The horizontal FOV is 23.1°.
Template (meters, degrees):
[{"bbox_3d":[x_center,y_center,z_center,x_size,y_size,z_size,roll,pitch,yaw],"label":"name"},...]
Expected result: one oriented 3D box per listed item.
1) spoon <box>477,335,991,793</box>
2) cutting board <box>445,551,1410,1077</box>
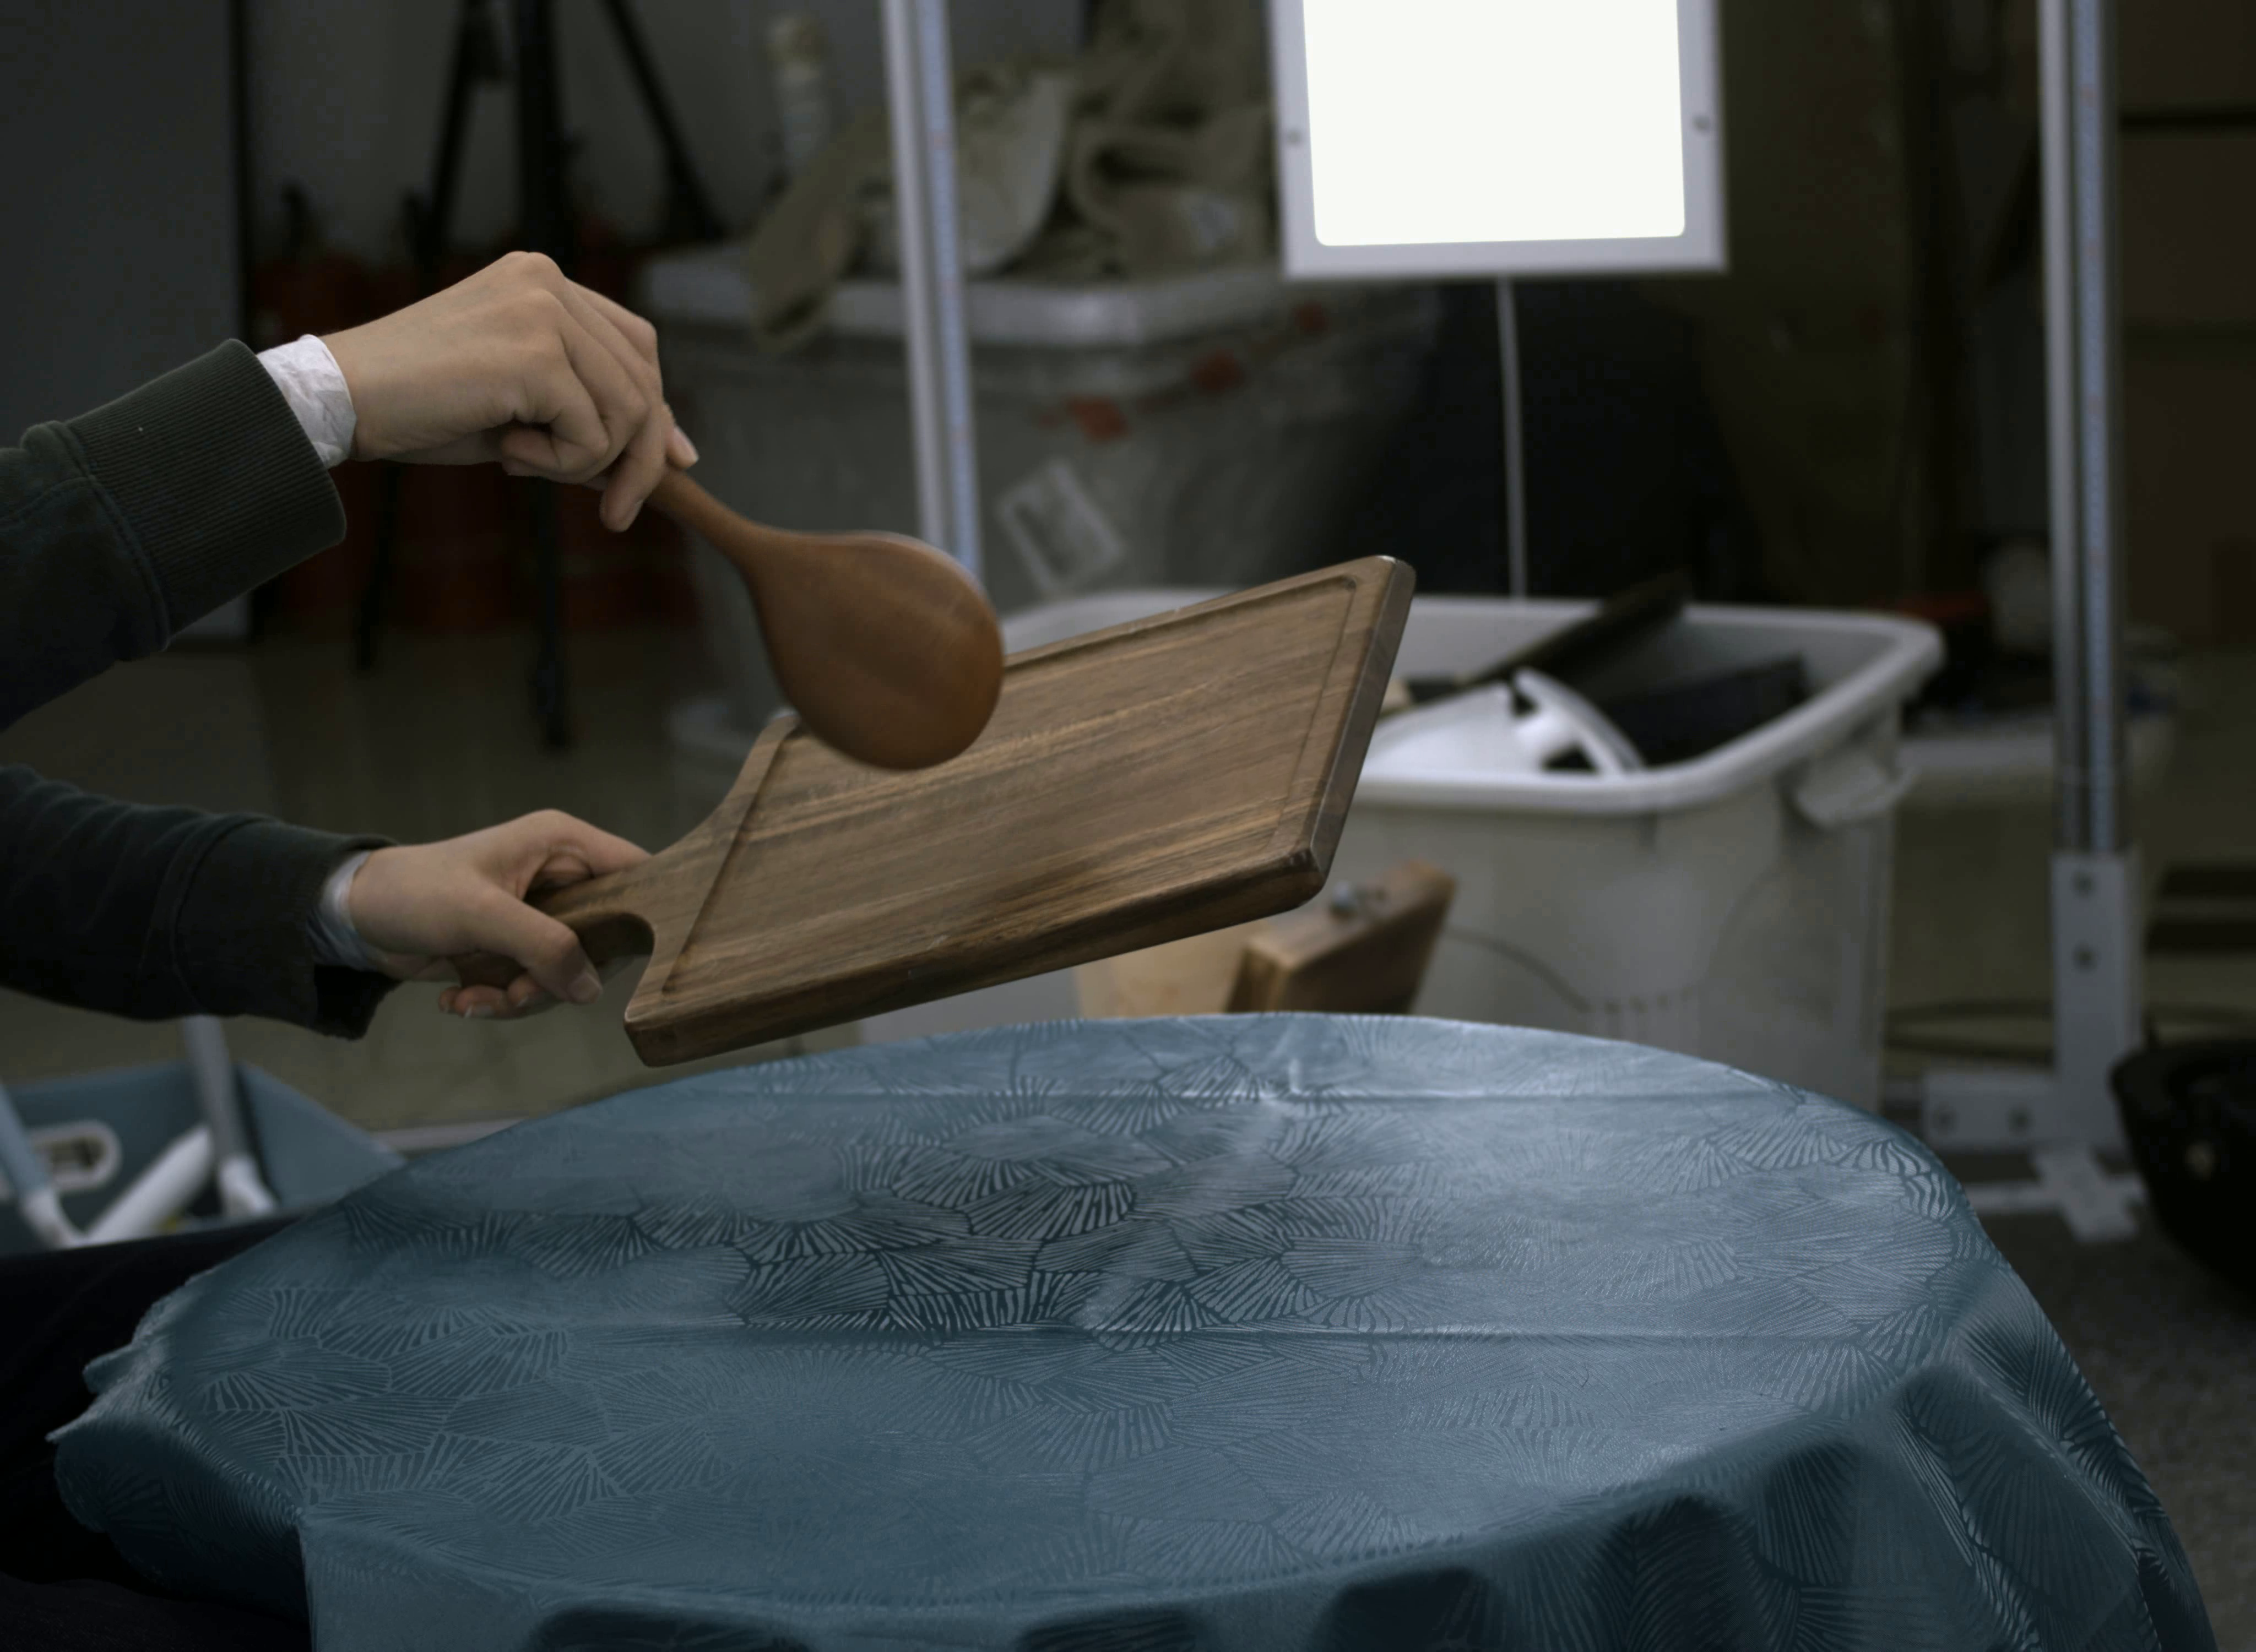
[{"bbox_3d":[-0.126,-0.086,1.767,0.075,0.213,0.017,-52,25,-3],"label":"spoon"},{"bbox_3d":[-0.078,0.006,1.871,0.358,0.023,0.199,-15,29,24],"label":"cutting board"}]
